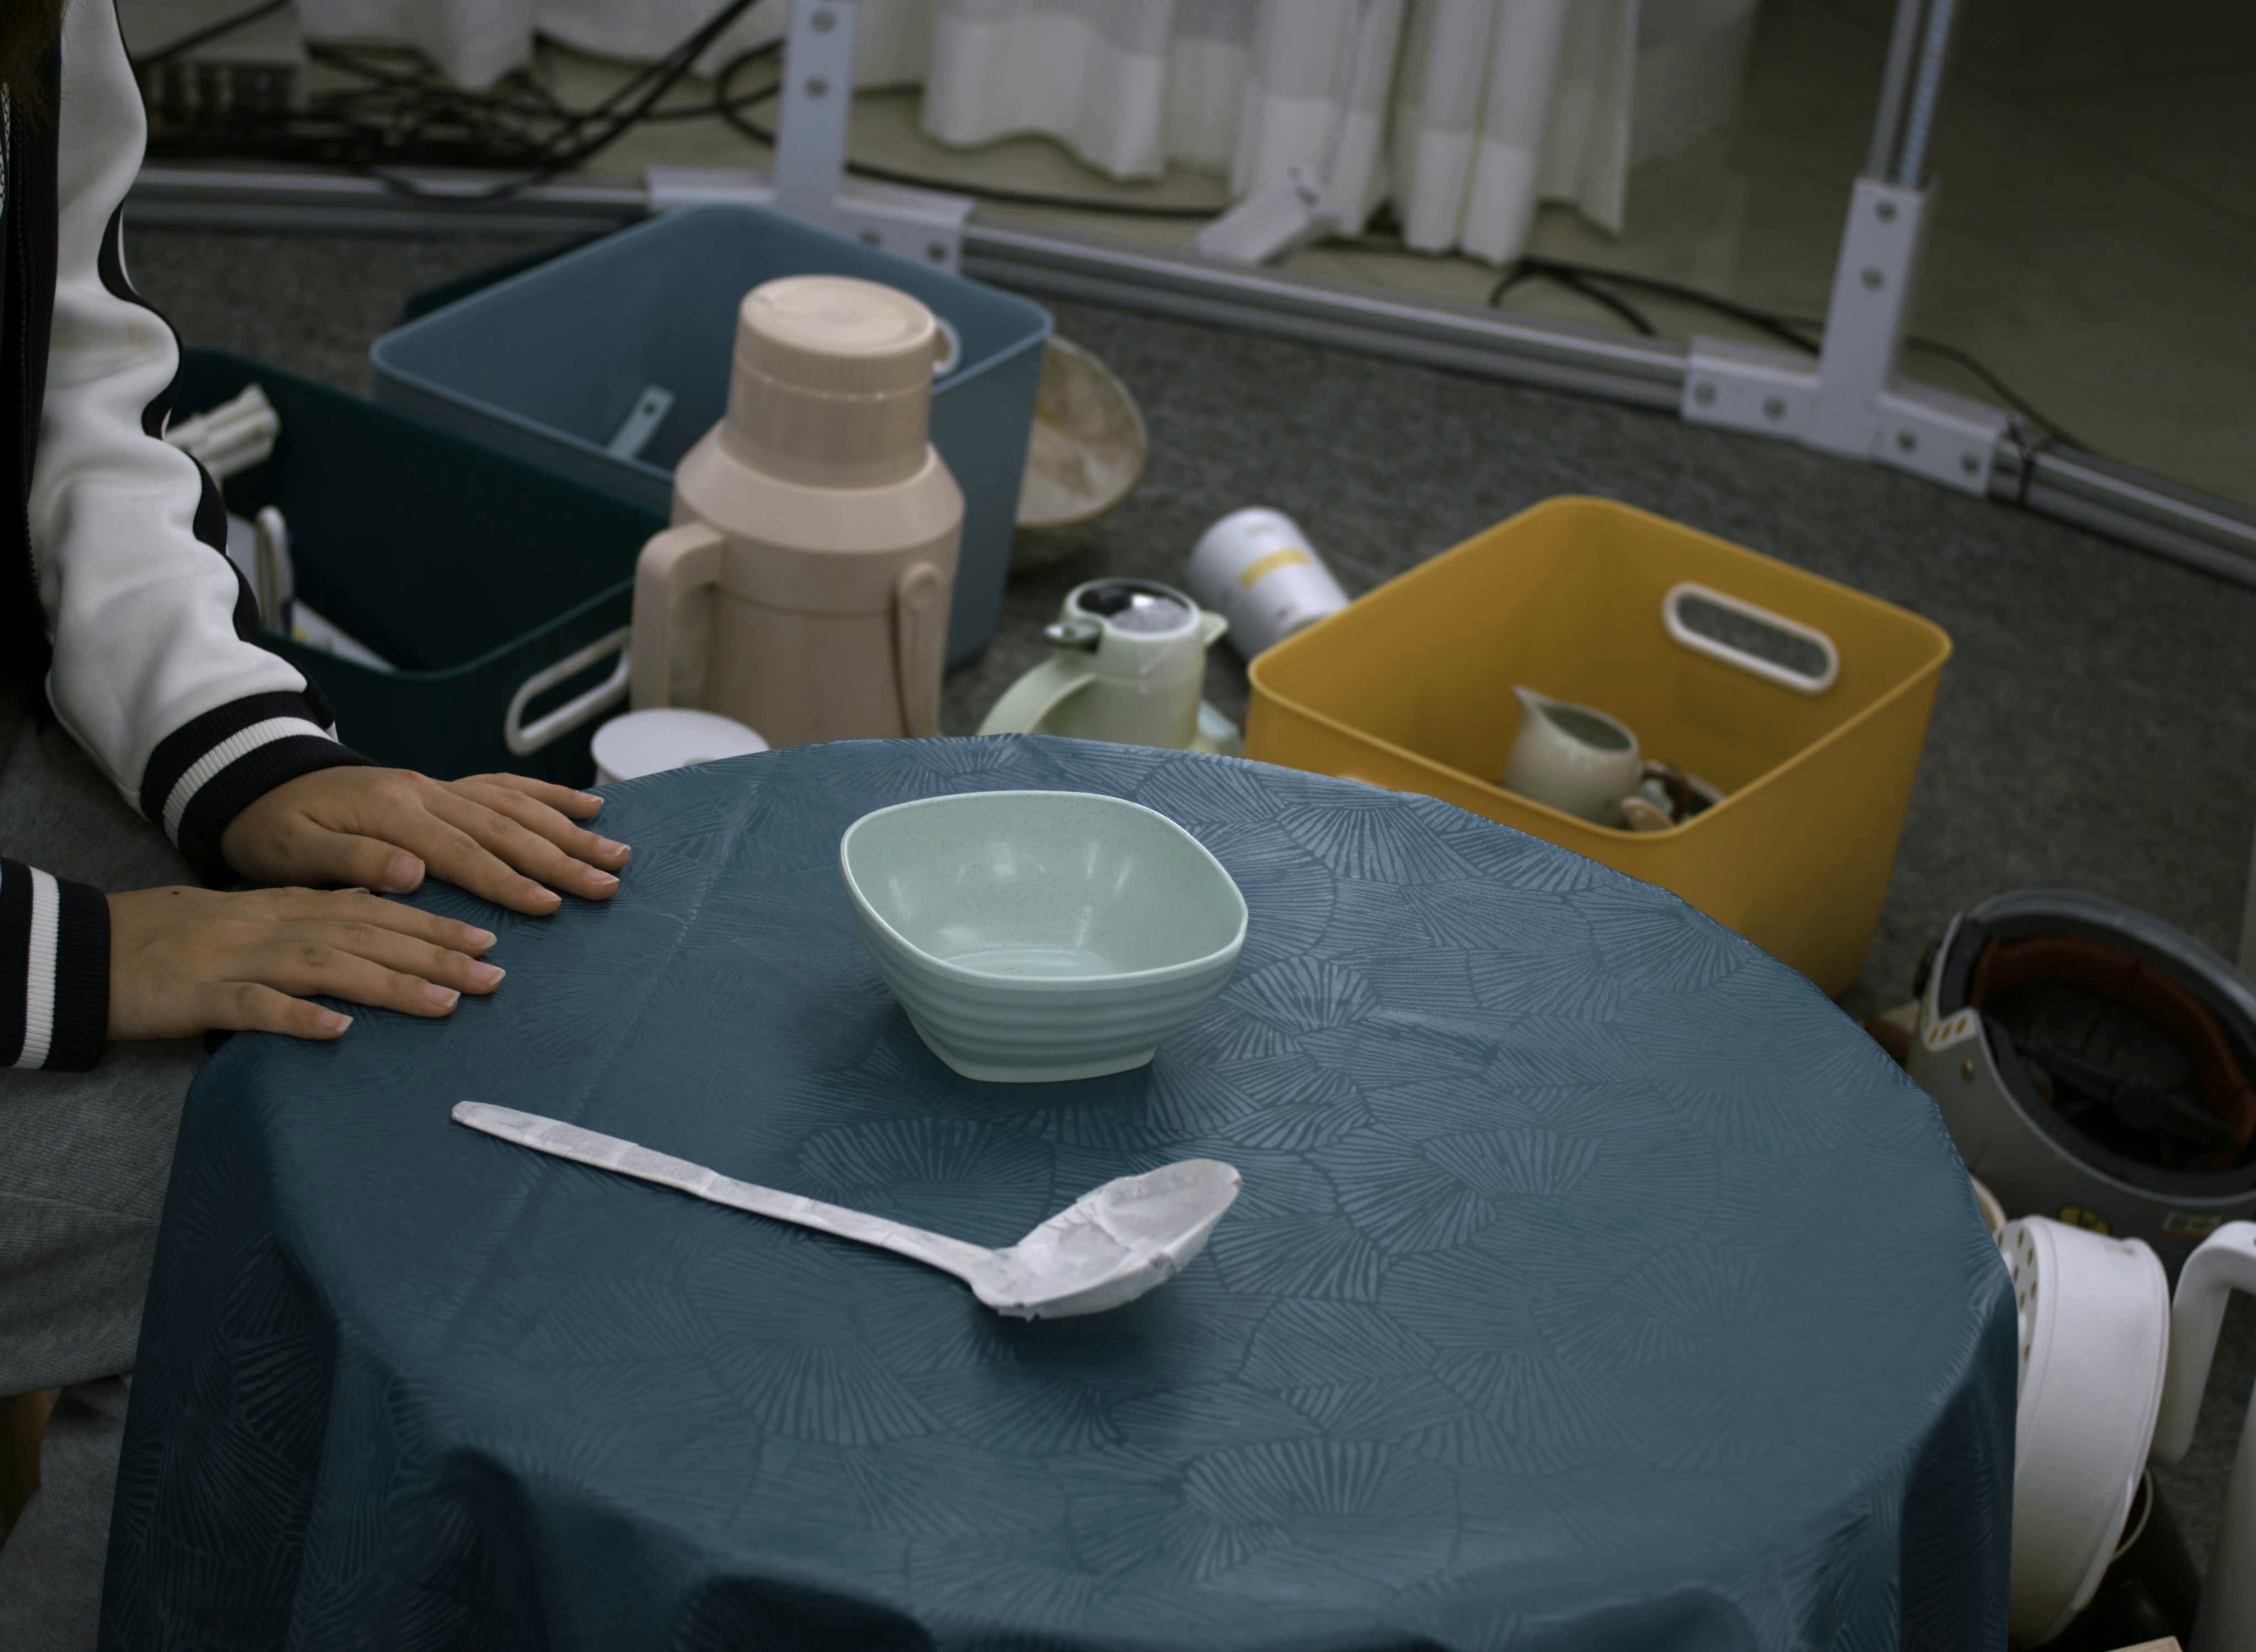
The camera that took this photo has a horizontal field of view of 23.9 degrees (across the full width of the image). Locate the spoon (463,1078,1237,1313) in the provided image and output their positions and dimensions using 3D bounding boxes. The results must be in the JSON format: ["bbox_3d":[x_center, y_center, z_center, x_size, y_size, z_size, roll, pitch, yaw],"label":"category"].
[{"bbox_3d":[-0.095,0.103,1.758,0.278,0.059,0.100,17,24,20],"label":"spoon"}]

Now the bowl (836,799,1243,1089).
[{"bbox_3d":[-0.034,0.047,1.887,0.151,0.058,0.152,5,26,-3],"label":"bowl"}]
